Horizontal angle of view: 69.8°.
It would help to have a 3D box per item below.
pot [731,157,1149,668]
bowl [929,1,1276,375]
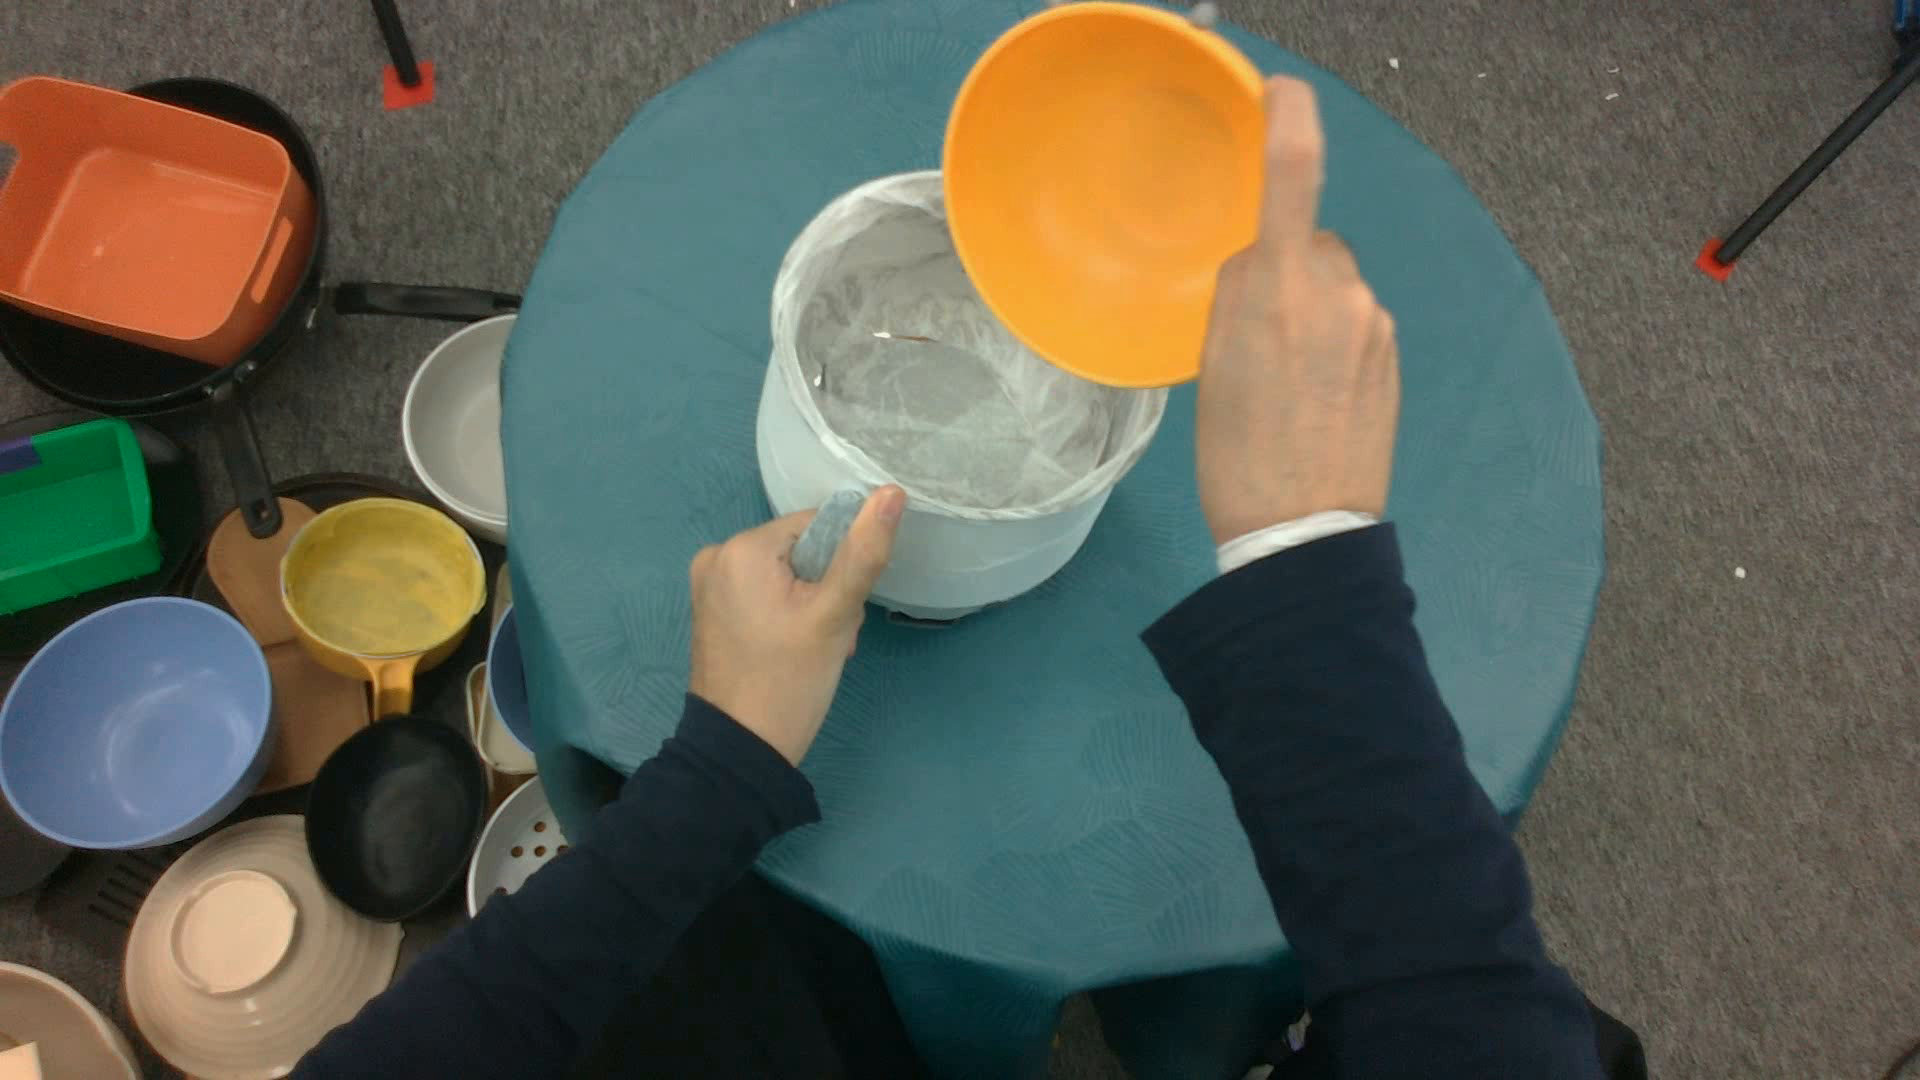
[{"bbox_3d":[-0.026,-0.050,0.641,0.179,0.136,0.235,30,61,4],"label":"pot"},{"bbox_3d":[0.063,-0.141,0.533,0.145,0.144,0.060,39,47,9],"label":"bowl"}]
